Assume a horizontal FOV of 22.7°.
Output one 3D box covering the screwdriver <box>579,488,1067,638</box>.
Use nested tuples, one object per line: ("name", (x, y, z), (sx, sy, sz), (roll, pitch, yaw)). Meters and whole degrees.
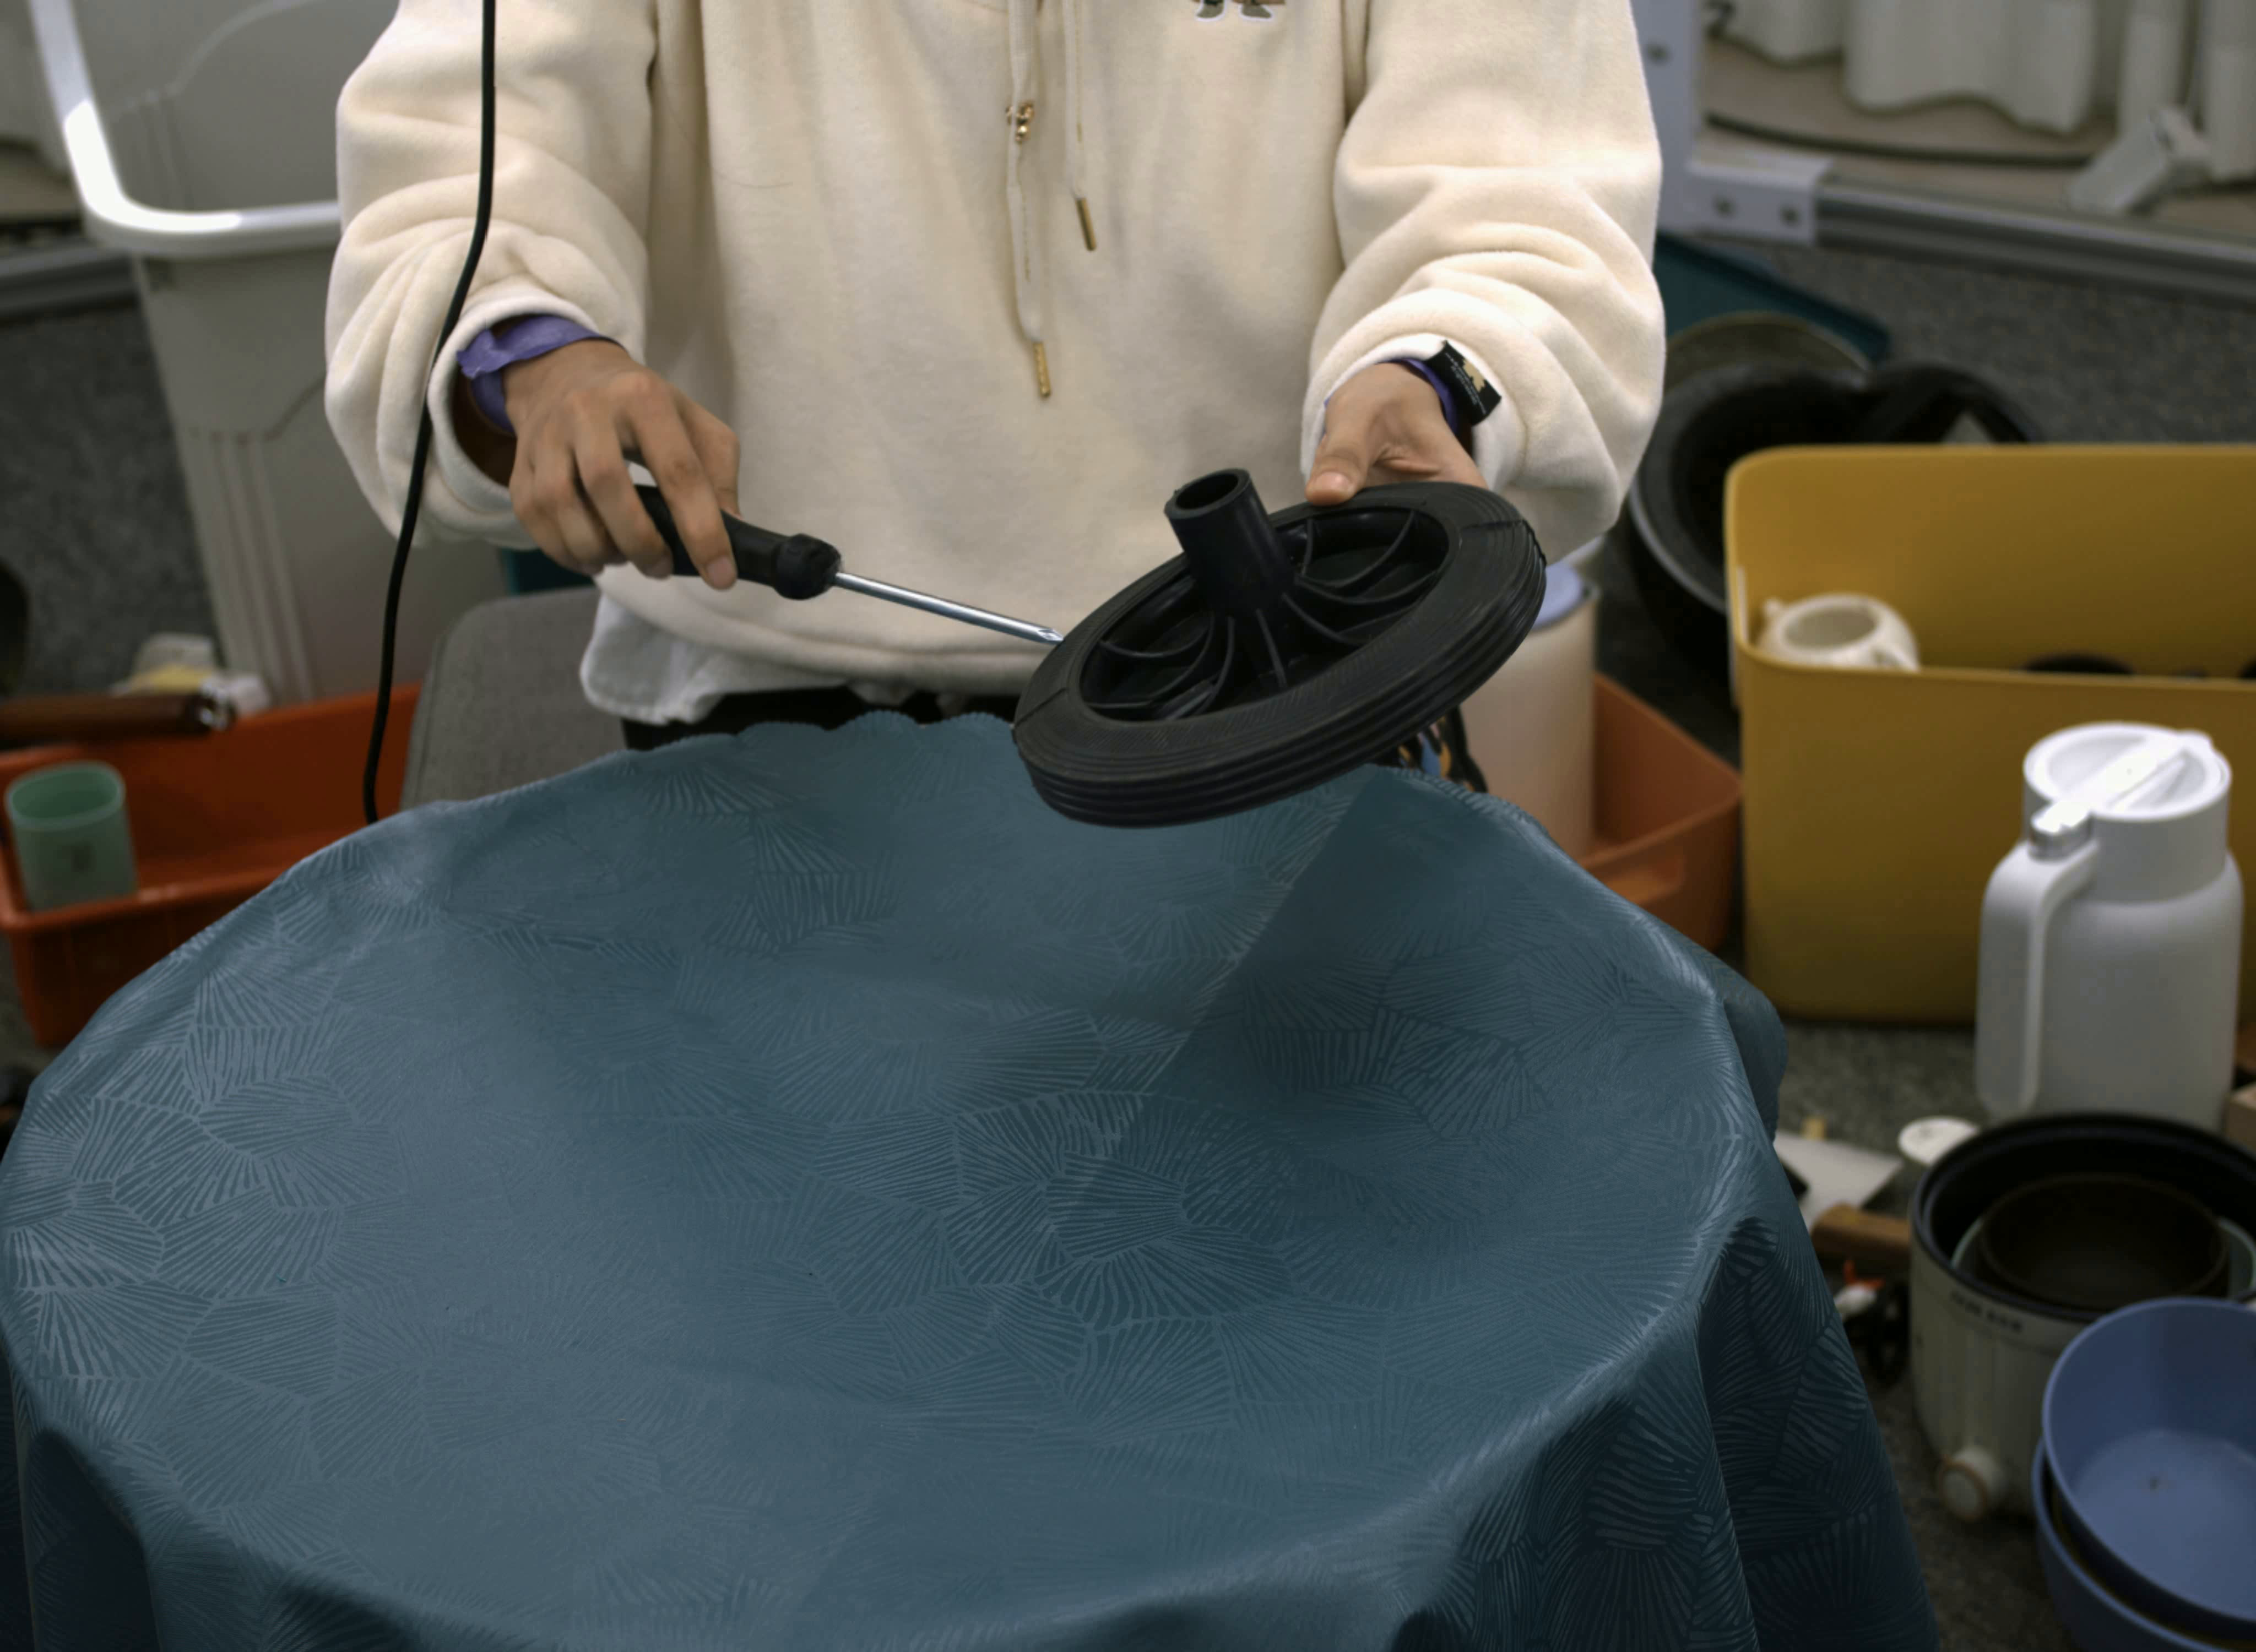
("screwdriver", (-0.106, -0.090, 1.981), (0.195, 0.031, 0.032), (13, 30, 21))

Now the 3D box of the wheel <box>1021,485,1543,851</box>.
("wheel", (0.042, -0.072, 1.883), (0.185, 0.078, 0.193), (-4, 33, 39))
